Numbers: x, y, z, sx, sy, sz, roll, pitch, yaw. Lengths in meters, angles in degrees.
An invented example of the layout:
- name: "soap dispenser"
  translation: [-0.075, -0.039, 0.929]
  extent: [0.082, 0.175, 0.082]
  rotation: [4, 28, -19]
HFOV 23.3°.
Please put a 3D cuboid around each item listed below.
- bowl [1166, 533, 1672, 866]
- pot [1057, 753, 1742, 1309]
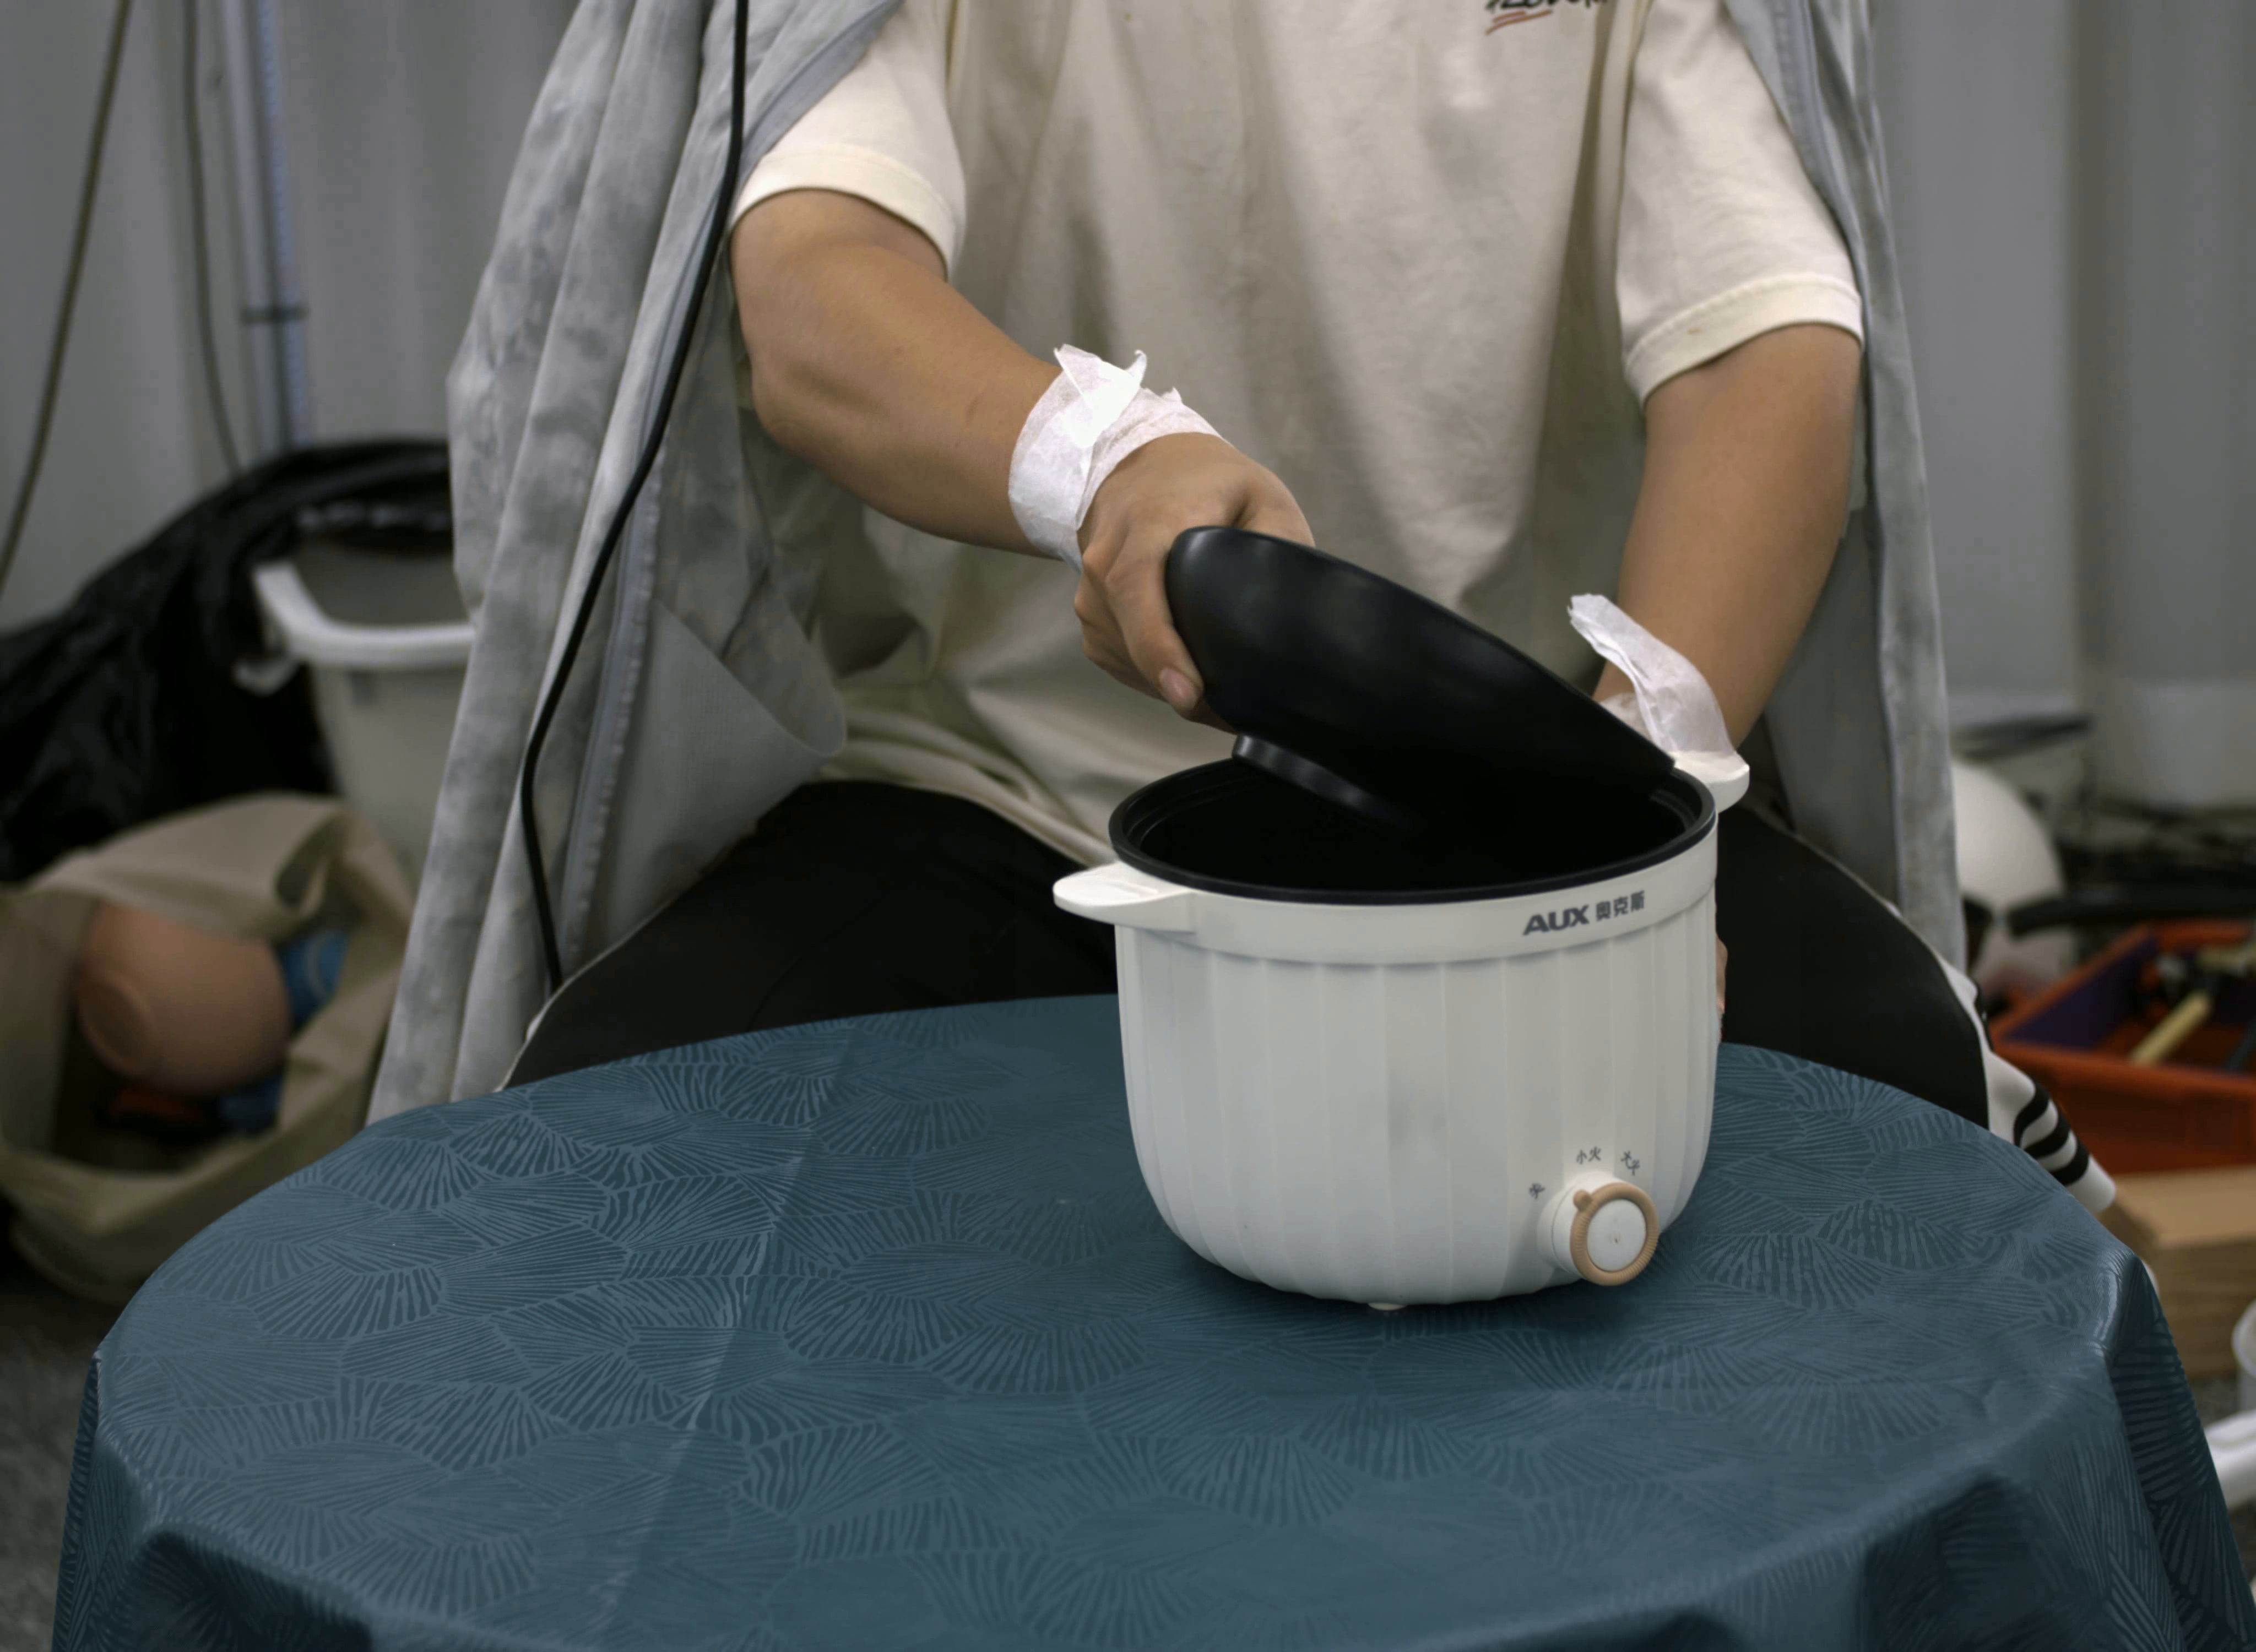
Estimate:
- name: "bowl"
  translation: [0.075, -0.031, 1.626]
  extent: [0.171, 0.067, 0.136]
  rotation: [26, -3, 27]
- name: "pot"
  translation: [0.091, 0.061, 1.639]
  extent: [0.239, 0.142, 0.191]
  rotation: [-12, 14, -29]
